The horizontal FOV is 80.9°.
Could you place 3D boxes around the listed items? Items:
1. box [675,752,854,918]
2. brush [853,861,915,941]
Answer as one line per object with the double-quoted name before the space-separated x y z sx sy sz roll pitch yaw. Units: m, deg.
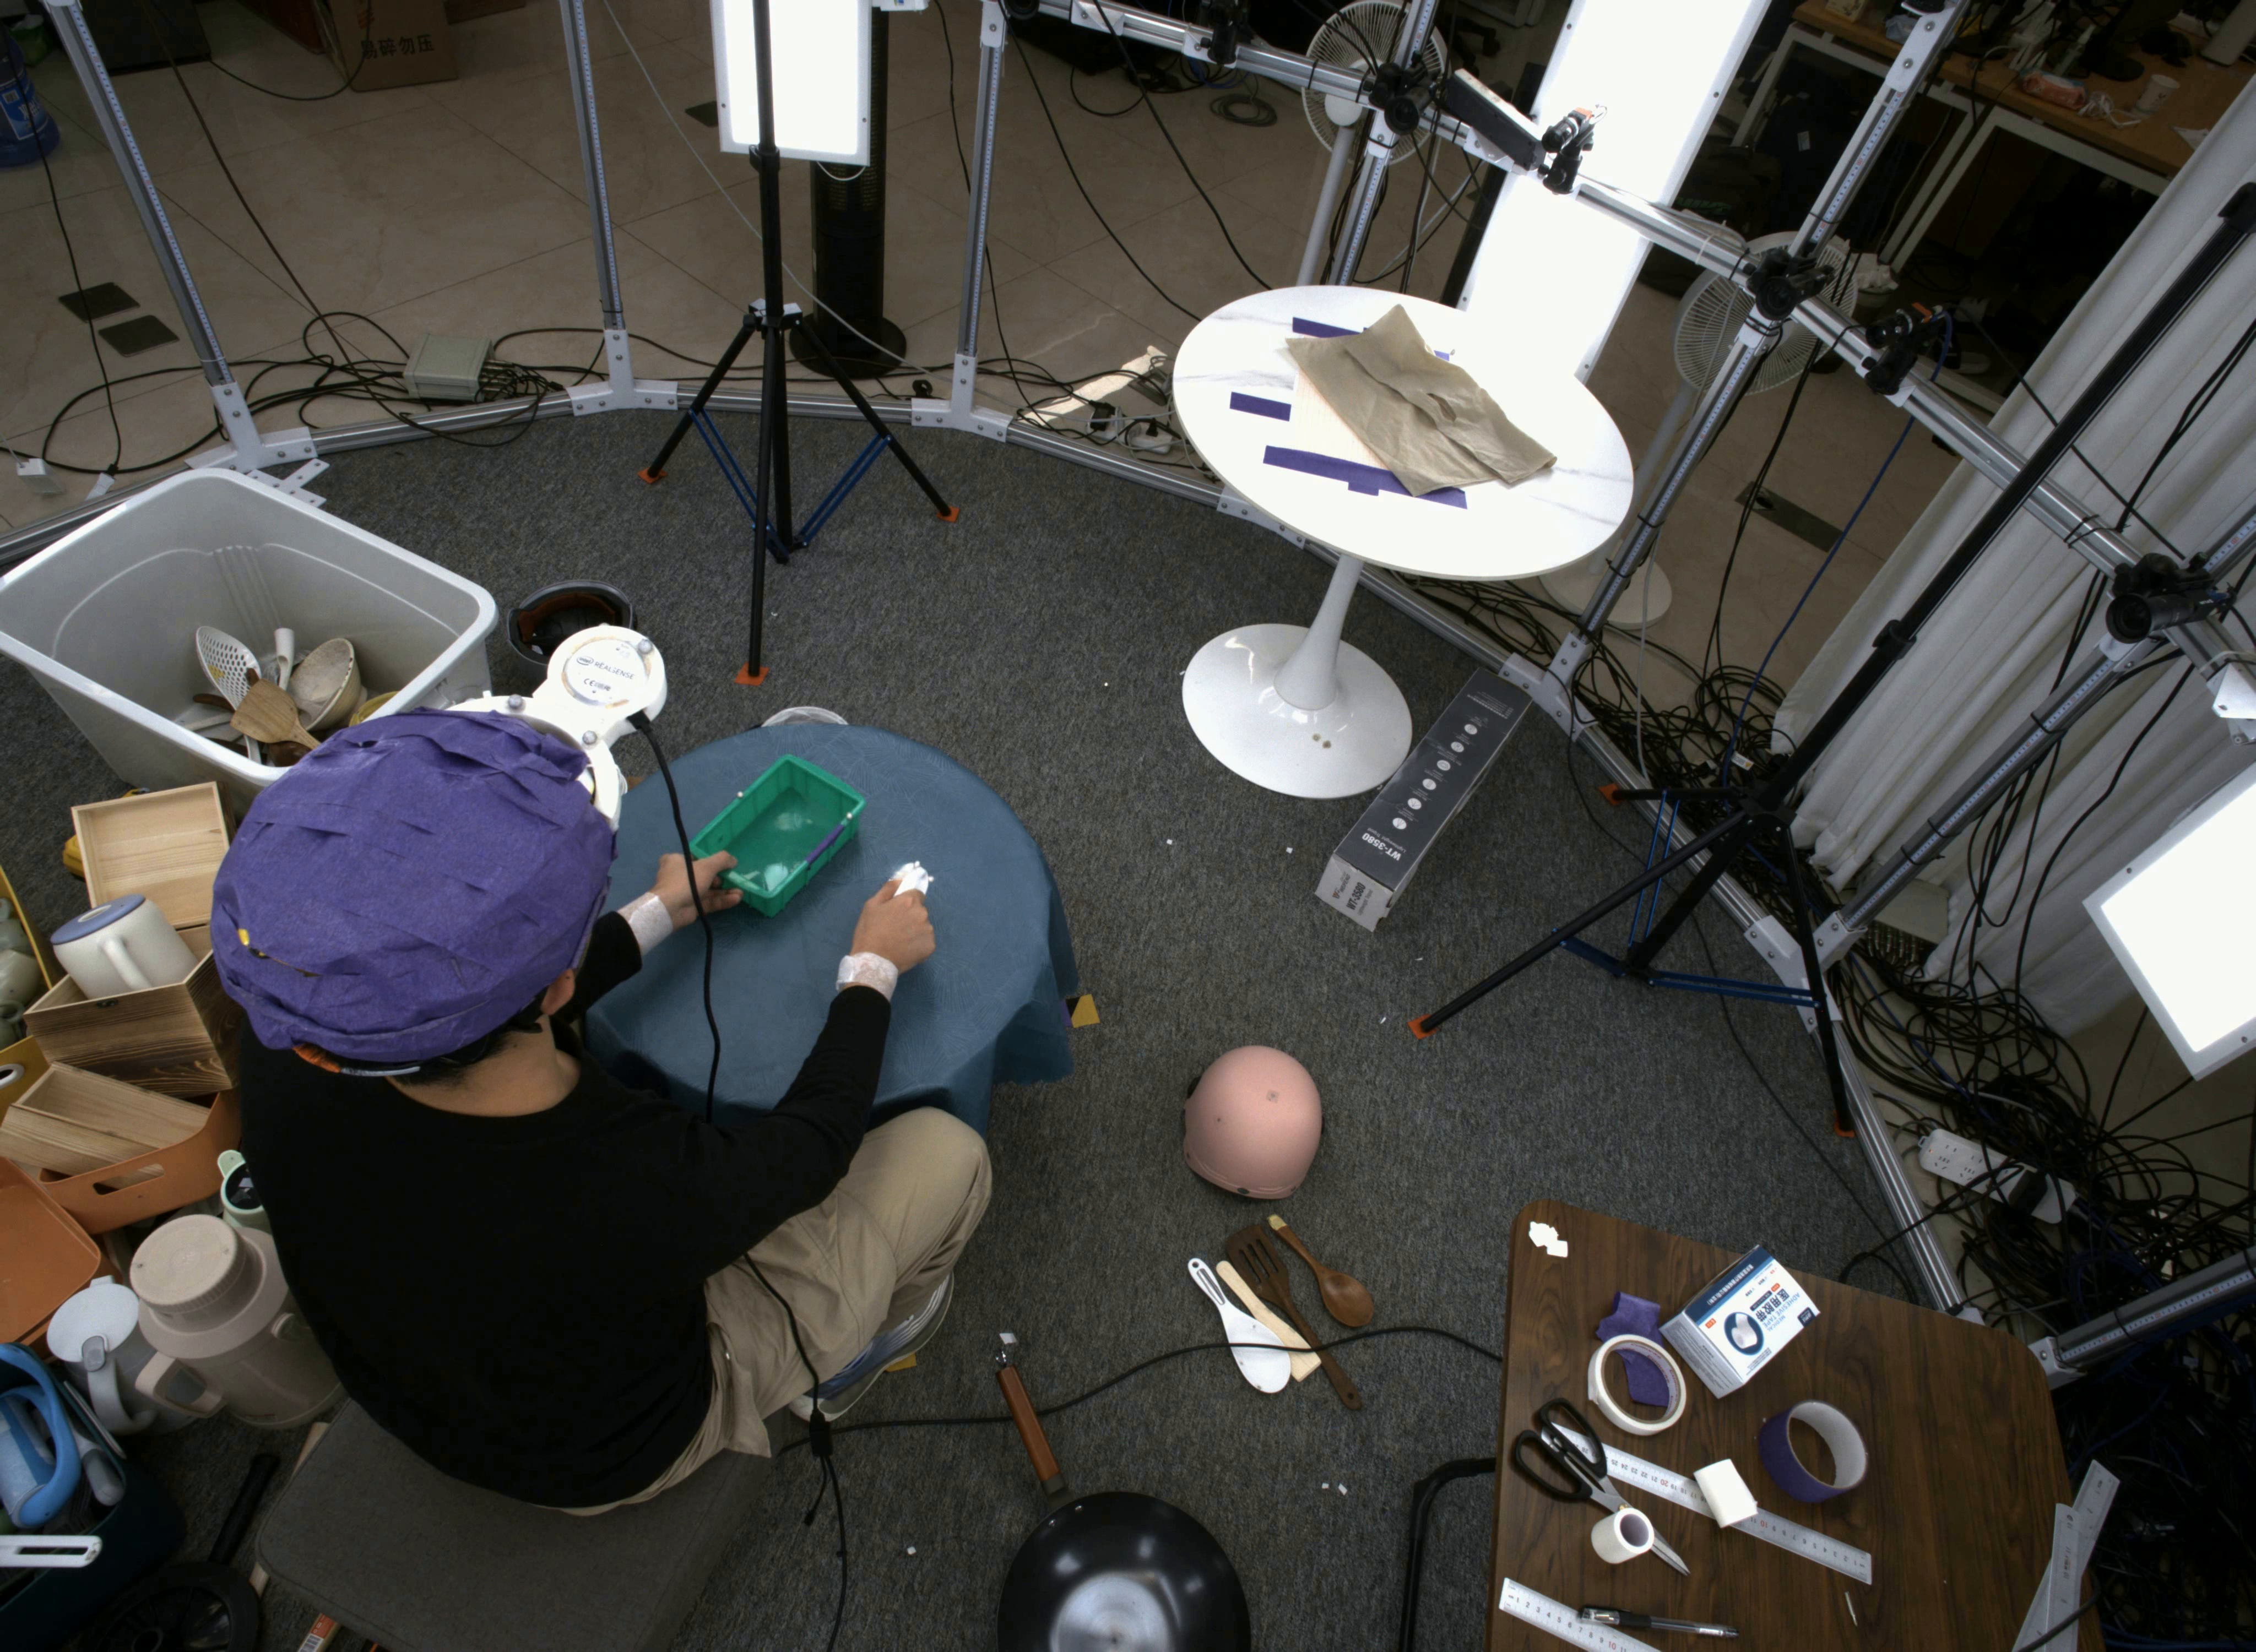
"box" -0.463 0.012 1.658 0.137 0.066 0.209 31 51 7
"brush" -0.297 0.087 1.598 0.051 0.072 0.099 34 66 -9
